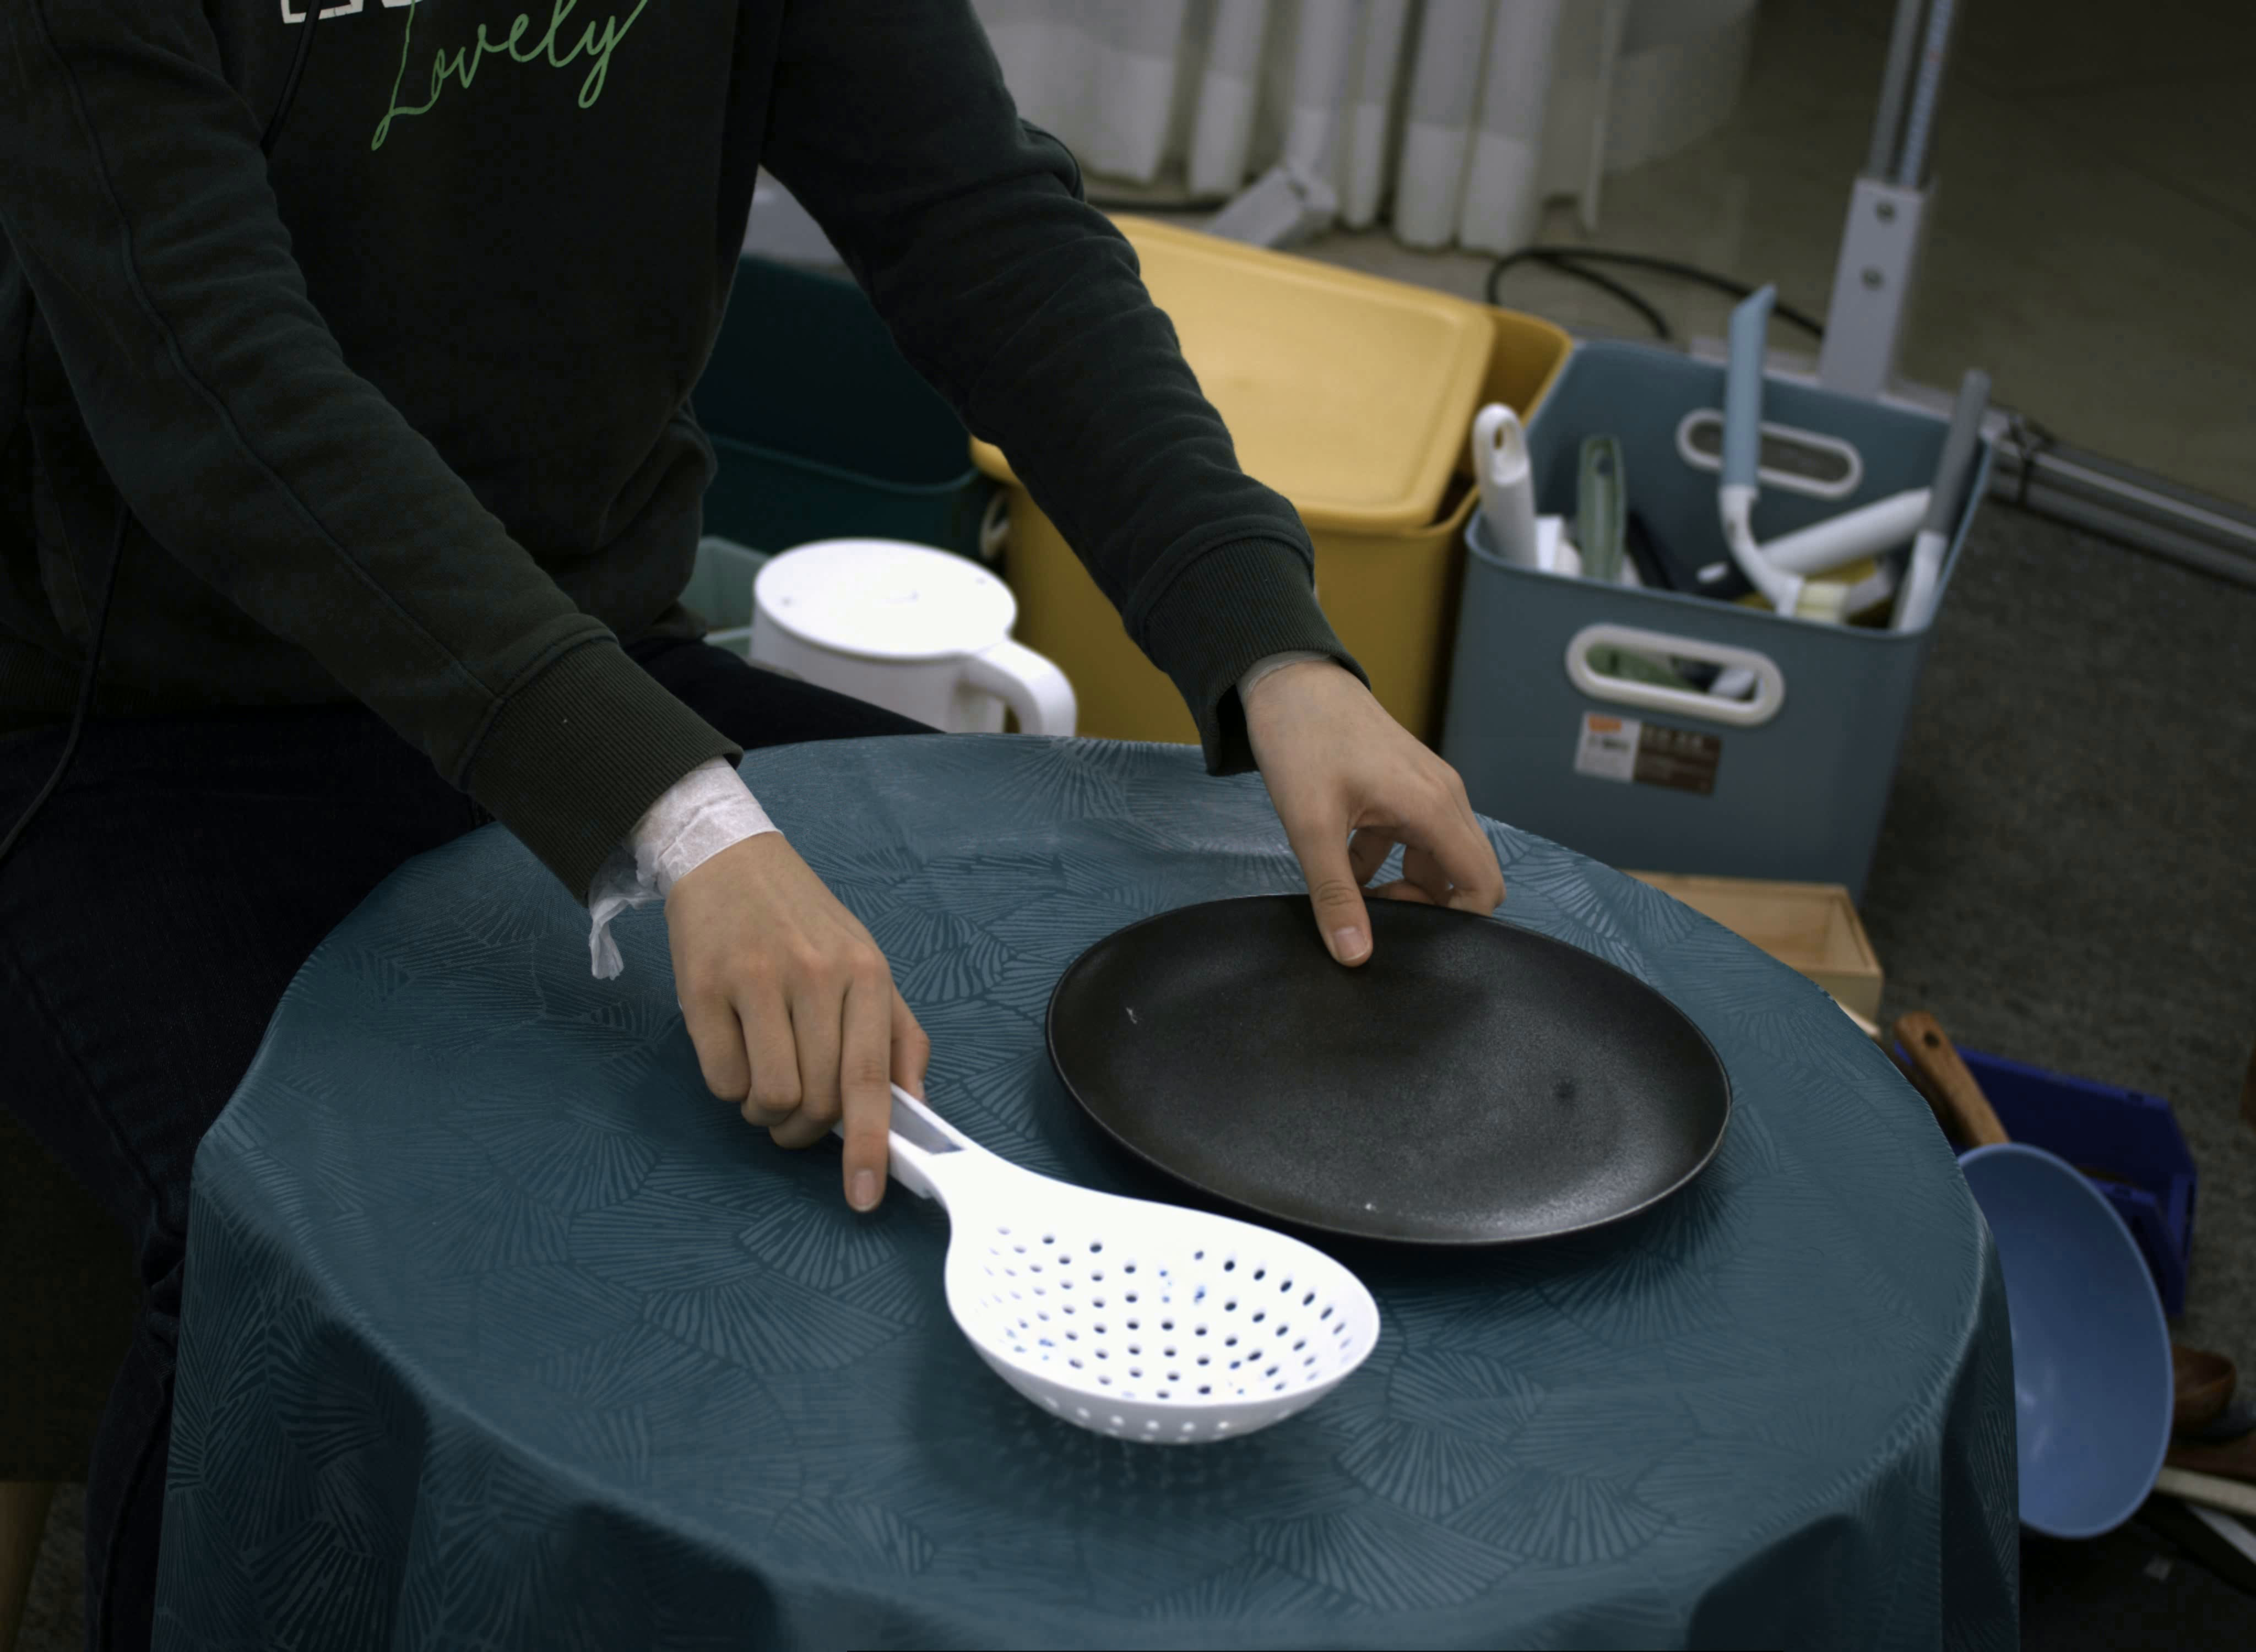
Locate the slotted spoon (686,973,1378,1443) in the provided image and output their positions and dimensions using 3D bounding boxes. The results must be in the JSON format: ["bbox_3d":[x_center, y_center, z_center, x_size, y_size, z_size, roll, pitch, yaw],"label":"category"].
[{"bbox_3d":[-0.050,0.119,1.748,0.135,0.045,0.353,-8,29,-33],"label":"slotted spoon"}]

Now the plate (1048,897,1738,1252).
[{"bbox_3d":[0.091,0.091,1.861,0.243,0.023,0.246,5,27,-3],"label":"plate"}]
